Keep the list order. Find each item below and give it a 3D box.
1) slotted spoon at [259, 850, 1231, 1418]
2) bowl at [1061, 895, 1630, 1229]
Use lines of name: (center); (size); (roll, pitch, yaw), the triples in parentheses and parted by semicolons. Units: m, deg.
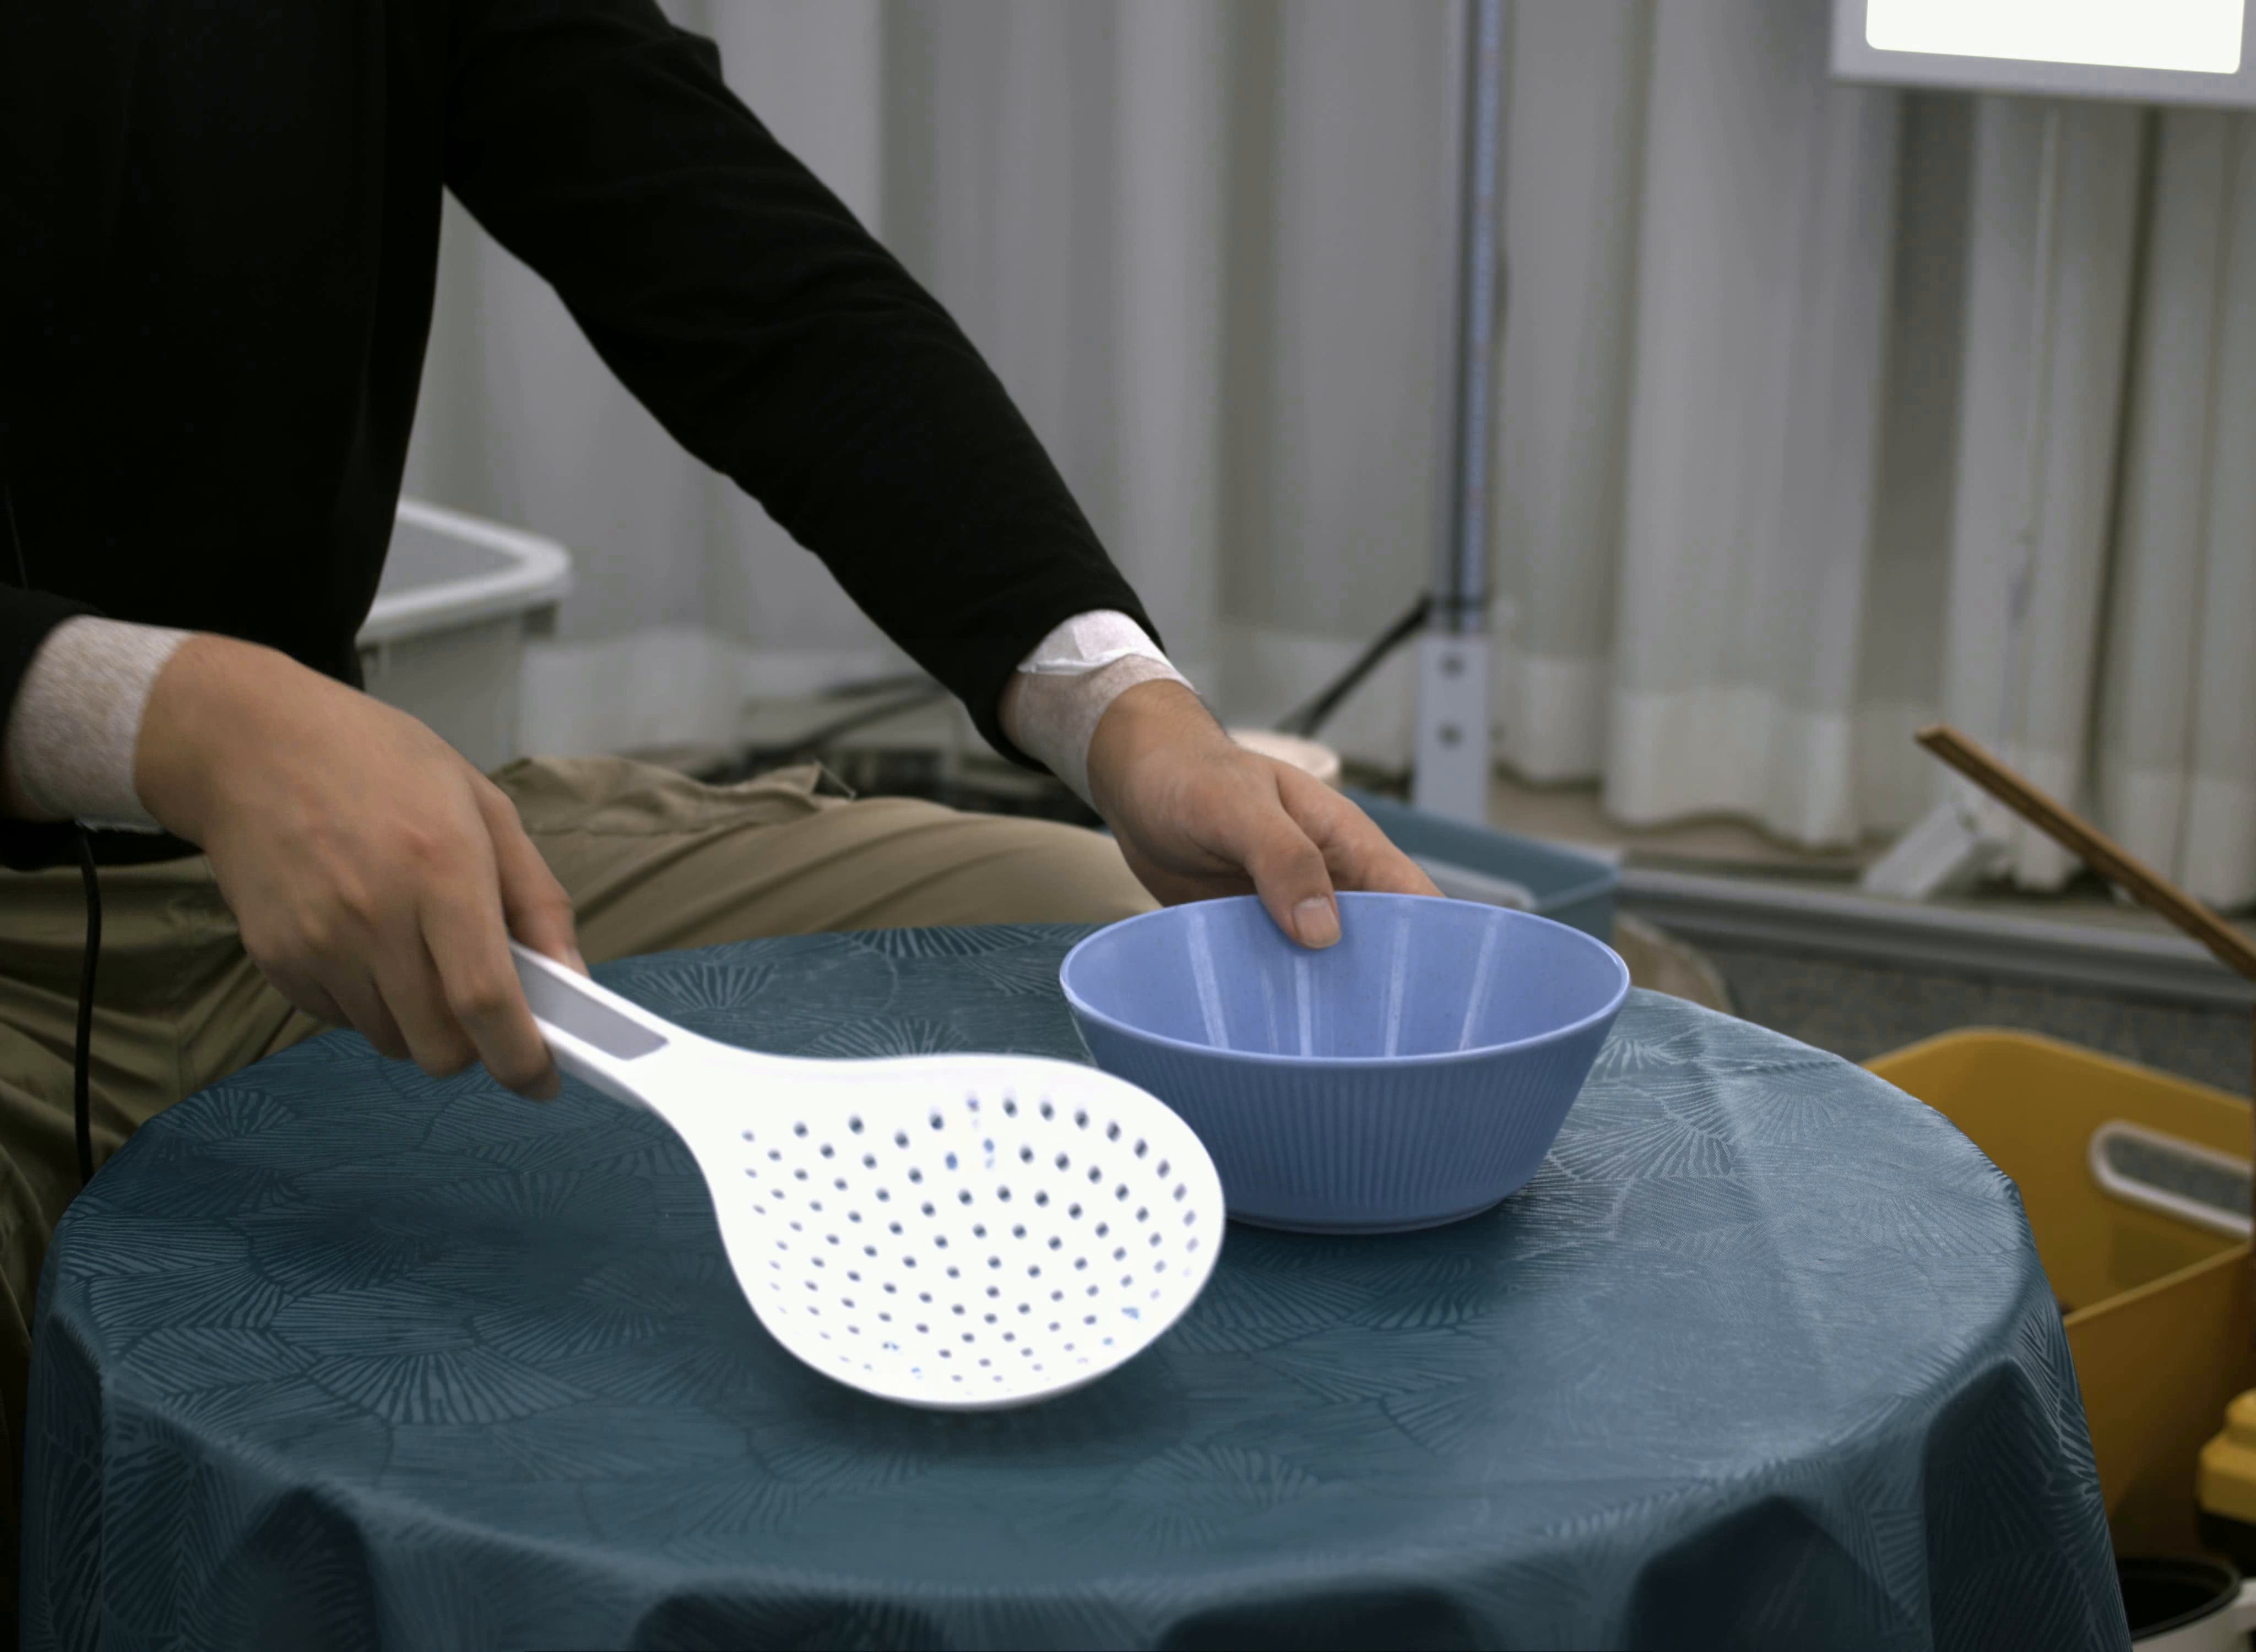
slotted spoon: (-0.122, 0.079, 1.514); (0.345, 0.046, 0.136); (28, 50, 27)
bowl: (0.067, 0.075, 1.626); (0.175, 0.071, 0.175); (0, 15, 0)
